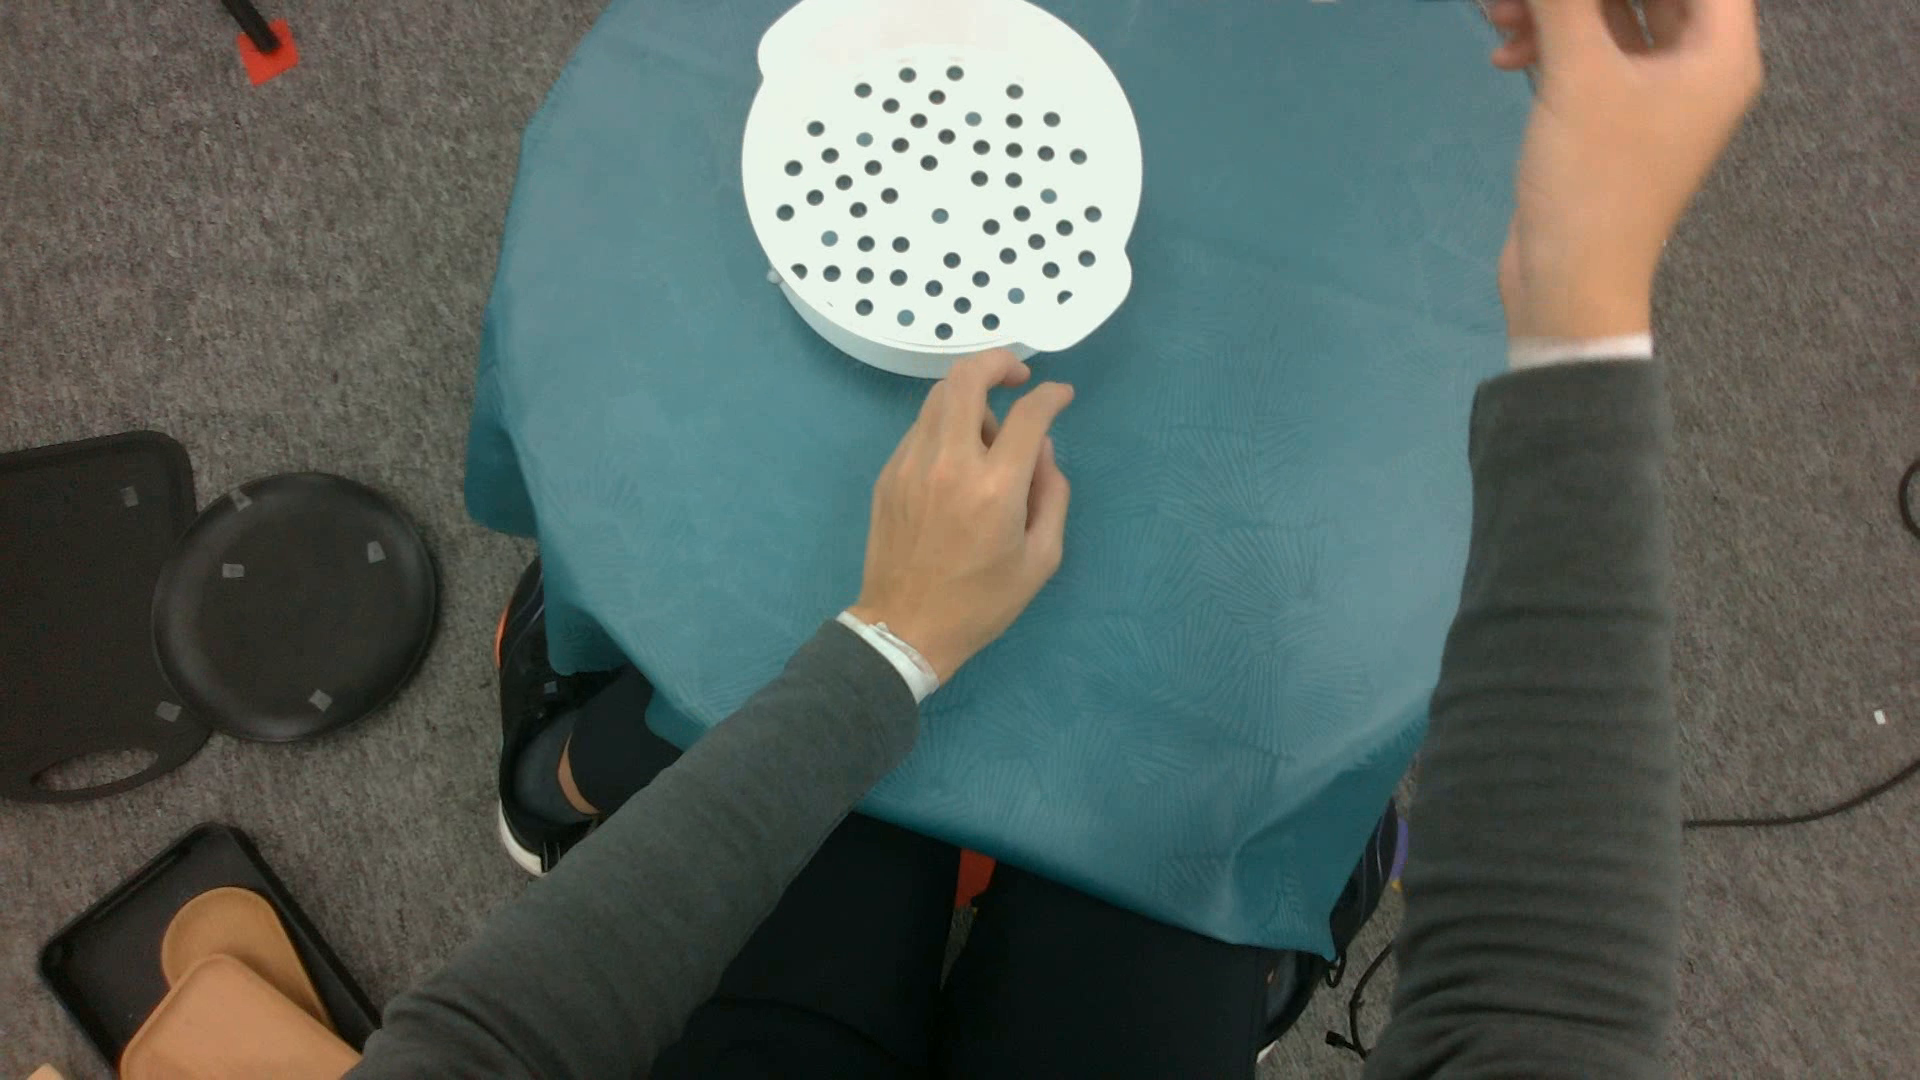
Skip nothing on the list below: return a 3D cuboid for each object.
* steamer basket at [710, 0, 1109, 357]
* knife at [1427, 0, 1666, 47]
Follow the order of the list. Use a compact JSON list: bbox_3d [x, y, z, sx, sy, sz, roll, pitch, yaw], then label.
[{"bbox_3d":[-0.026,-0.195,0.721,0.202,0.069,0.230,-42,84,-10],"label":"steamer basket"},{"bbox_3d":[0.144,-0.223,0.520,0.238,0.024,0.016,20,36,17],"label":"knife"}]
